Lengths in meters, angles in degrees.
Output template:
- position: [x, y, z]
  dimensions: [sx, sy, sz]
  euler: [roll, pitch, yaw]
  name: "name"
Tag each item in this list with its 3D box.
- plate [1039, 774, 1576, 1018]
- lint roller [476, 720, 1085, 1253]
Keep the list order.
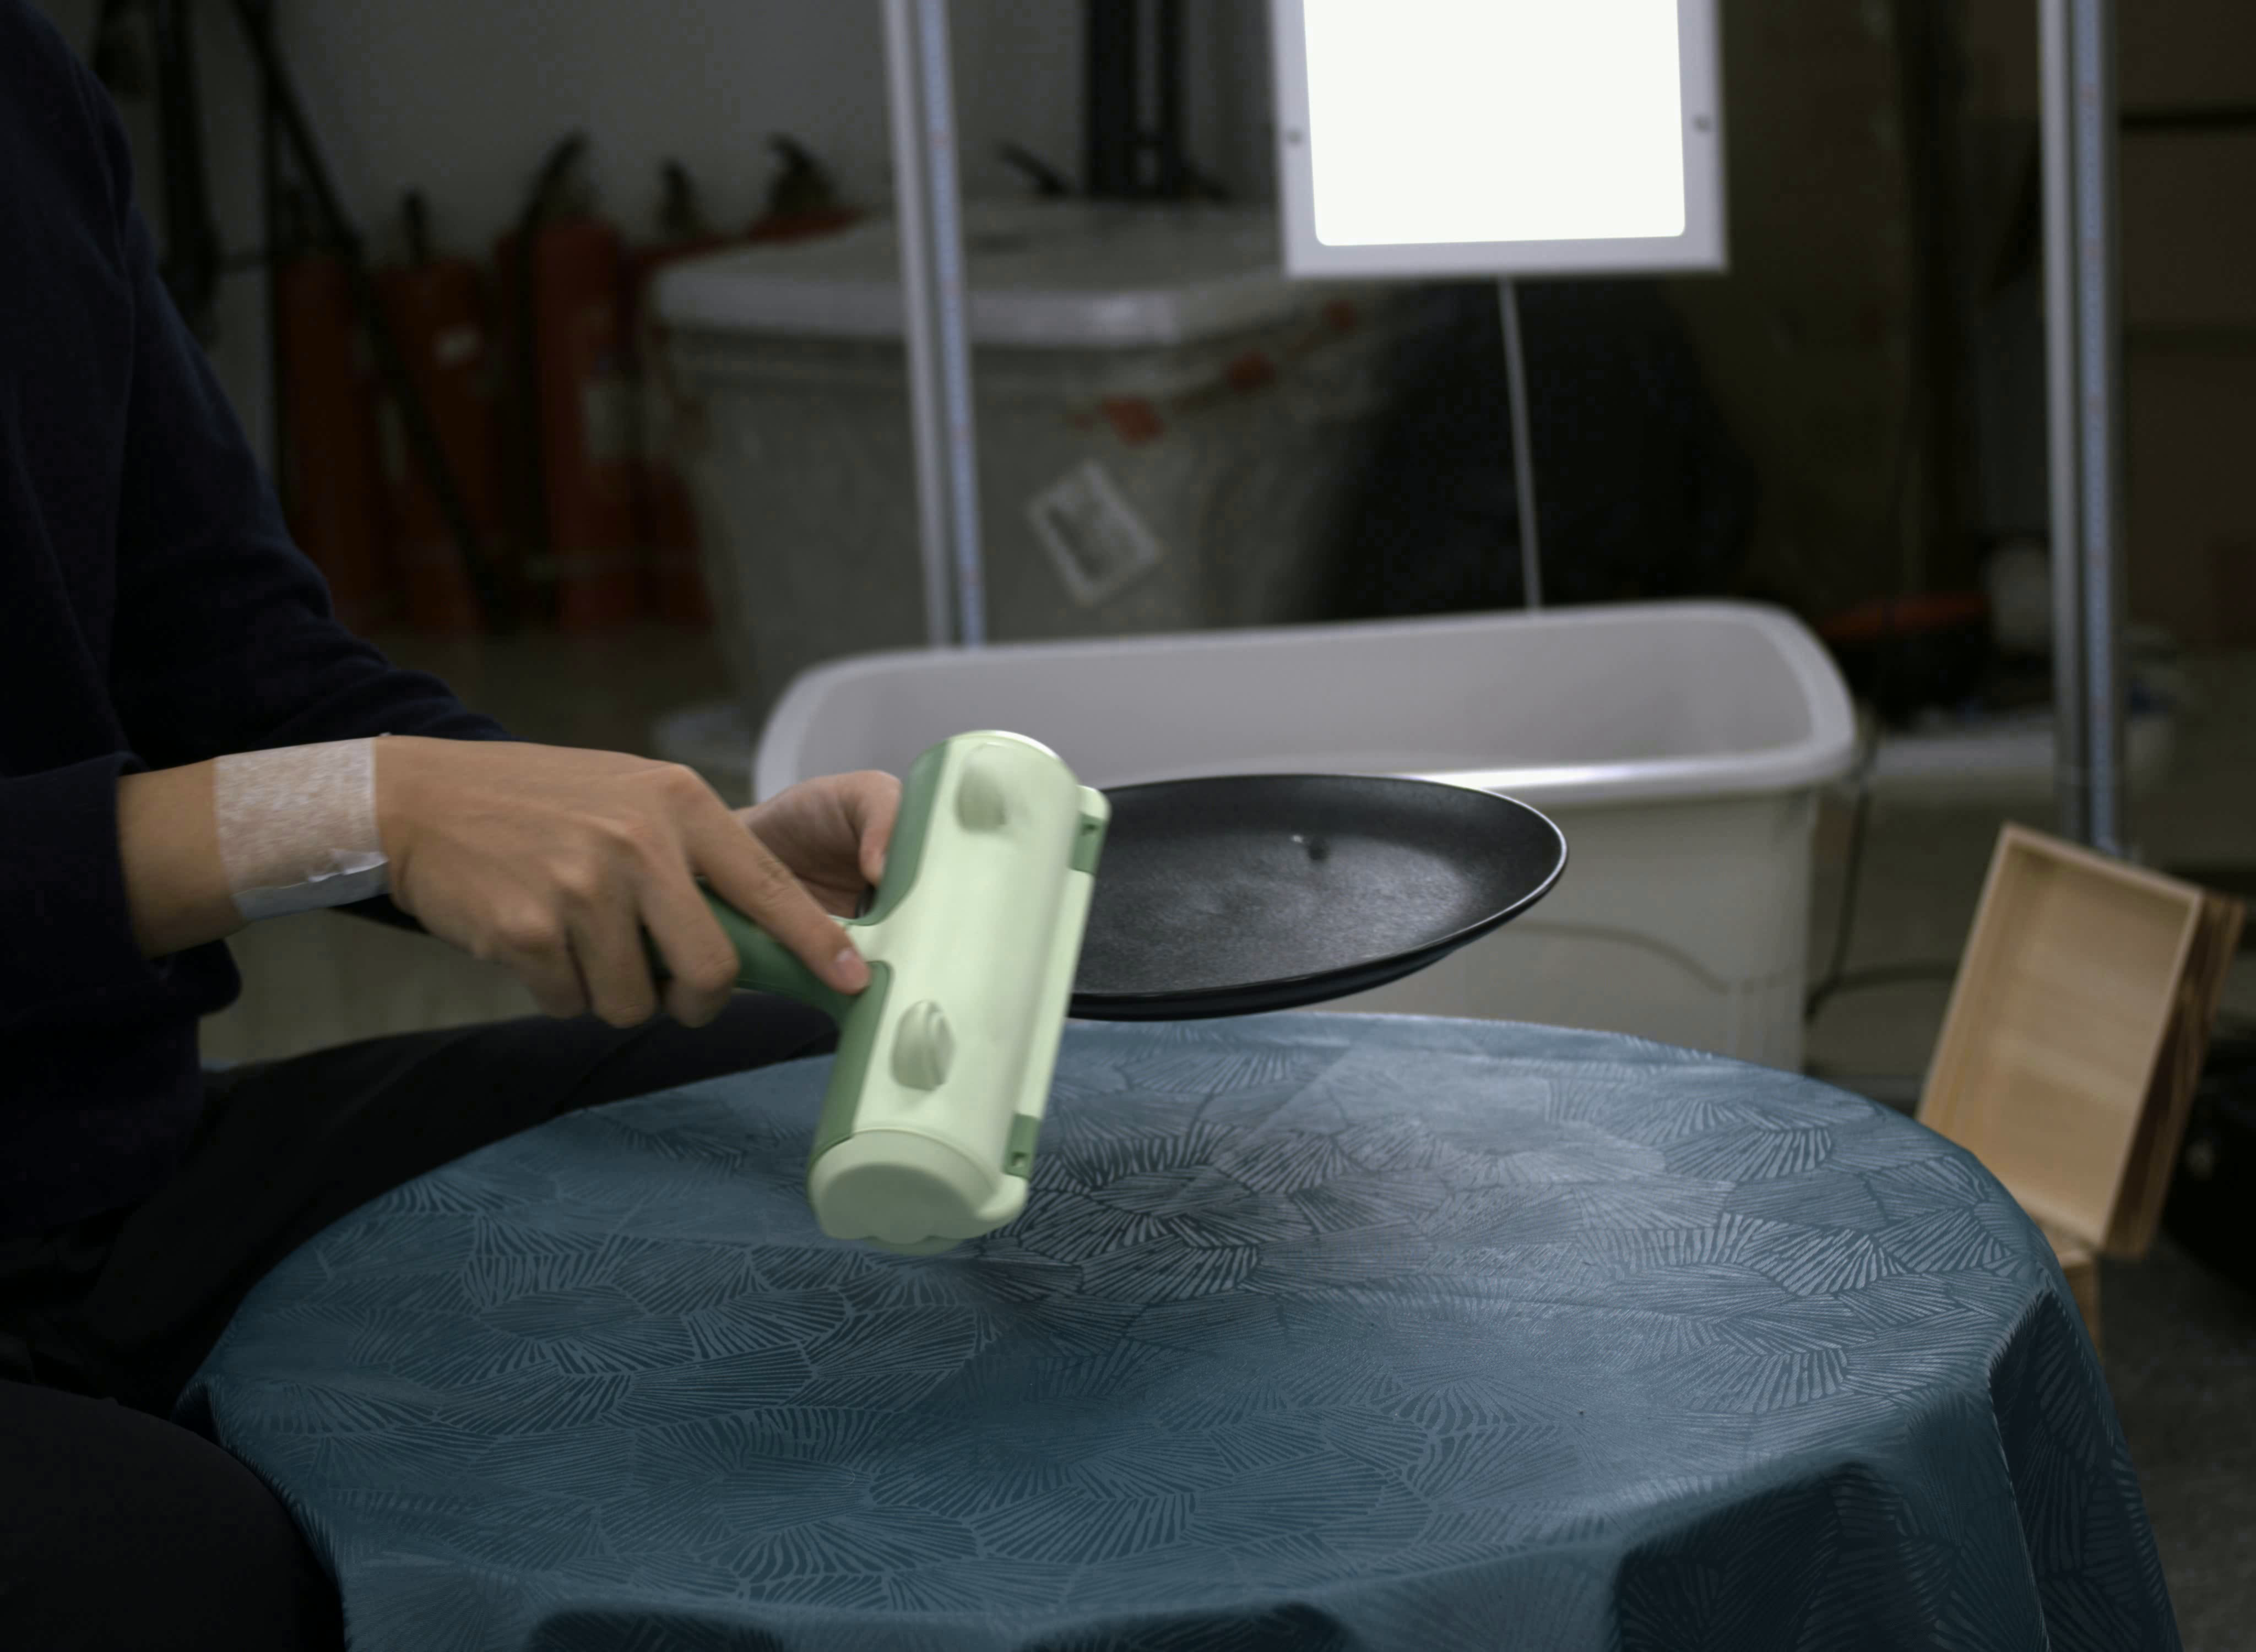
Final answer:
- position: [0.032, 0.026, 1.862]
  dimensions: [0.244, 0.023, 0.244]
  euler: [-7, 16, 0]
  name: "plate"
- position: [-0.110, 0.025, 1.734]
  dimensions: [0.182, 0.083, 0.197]
  euler: [20, 44, -9]
  name: "lint roller"
